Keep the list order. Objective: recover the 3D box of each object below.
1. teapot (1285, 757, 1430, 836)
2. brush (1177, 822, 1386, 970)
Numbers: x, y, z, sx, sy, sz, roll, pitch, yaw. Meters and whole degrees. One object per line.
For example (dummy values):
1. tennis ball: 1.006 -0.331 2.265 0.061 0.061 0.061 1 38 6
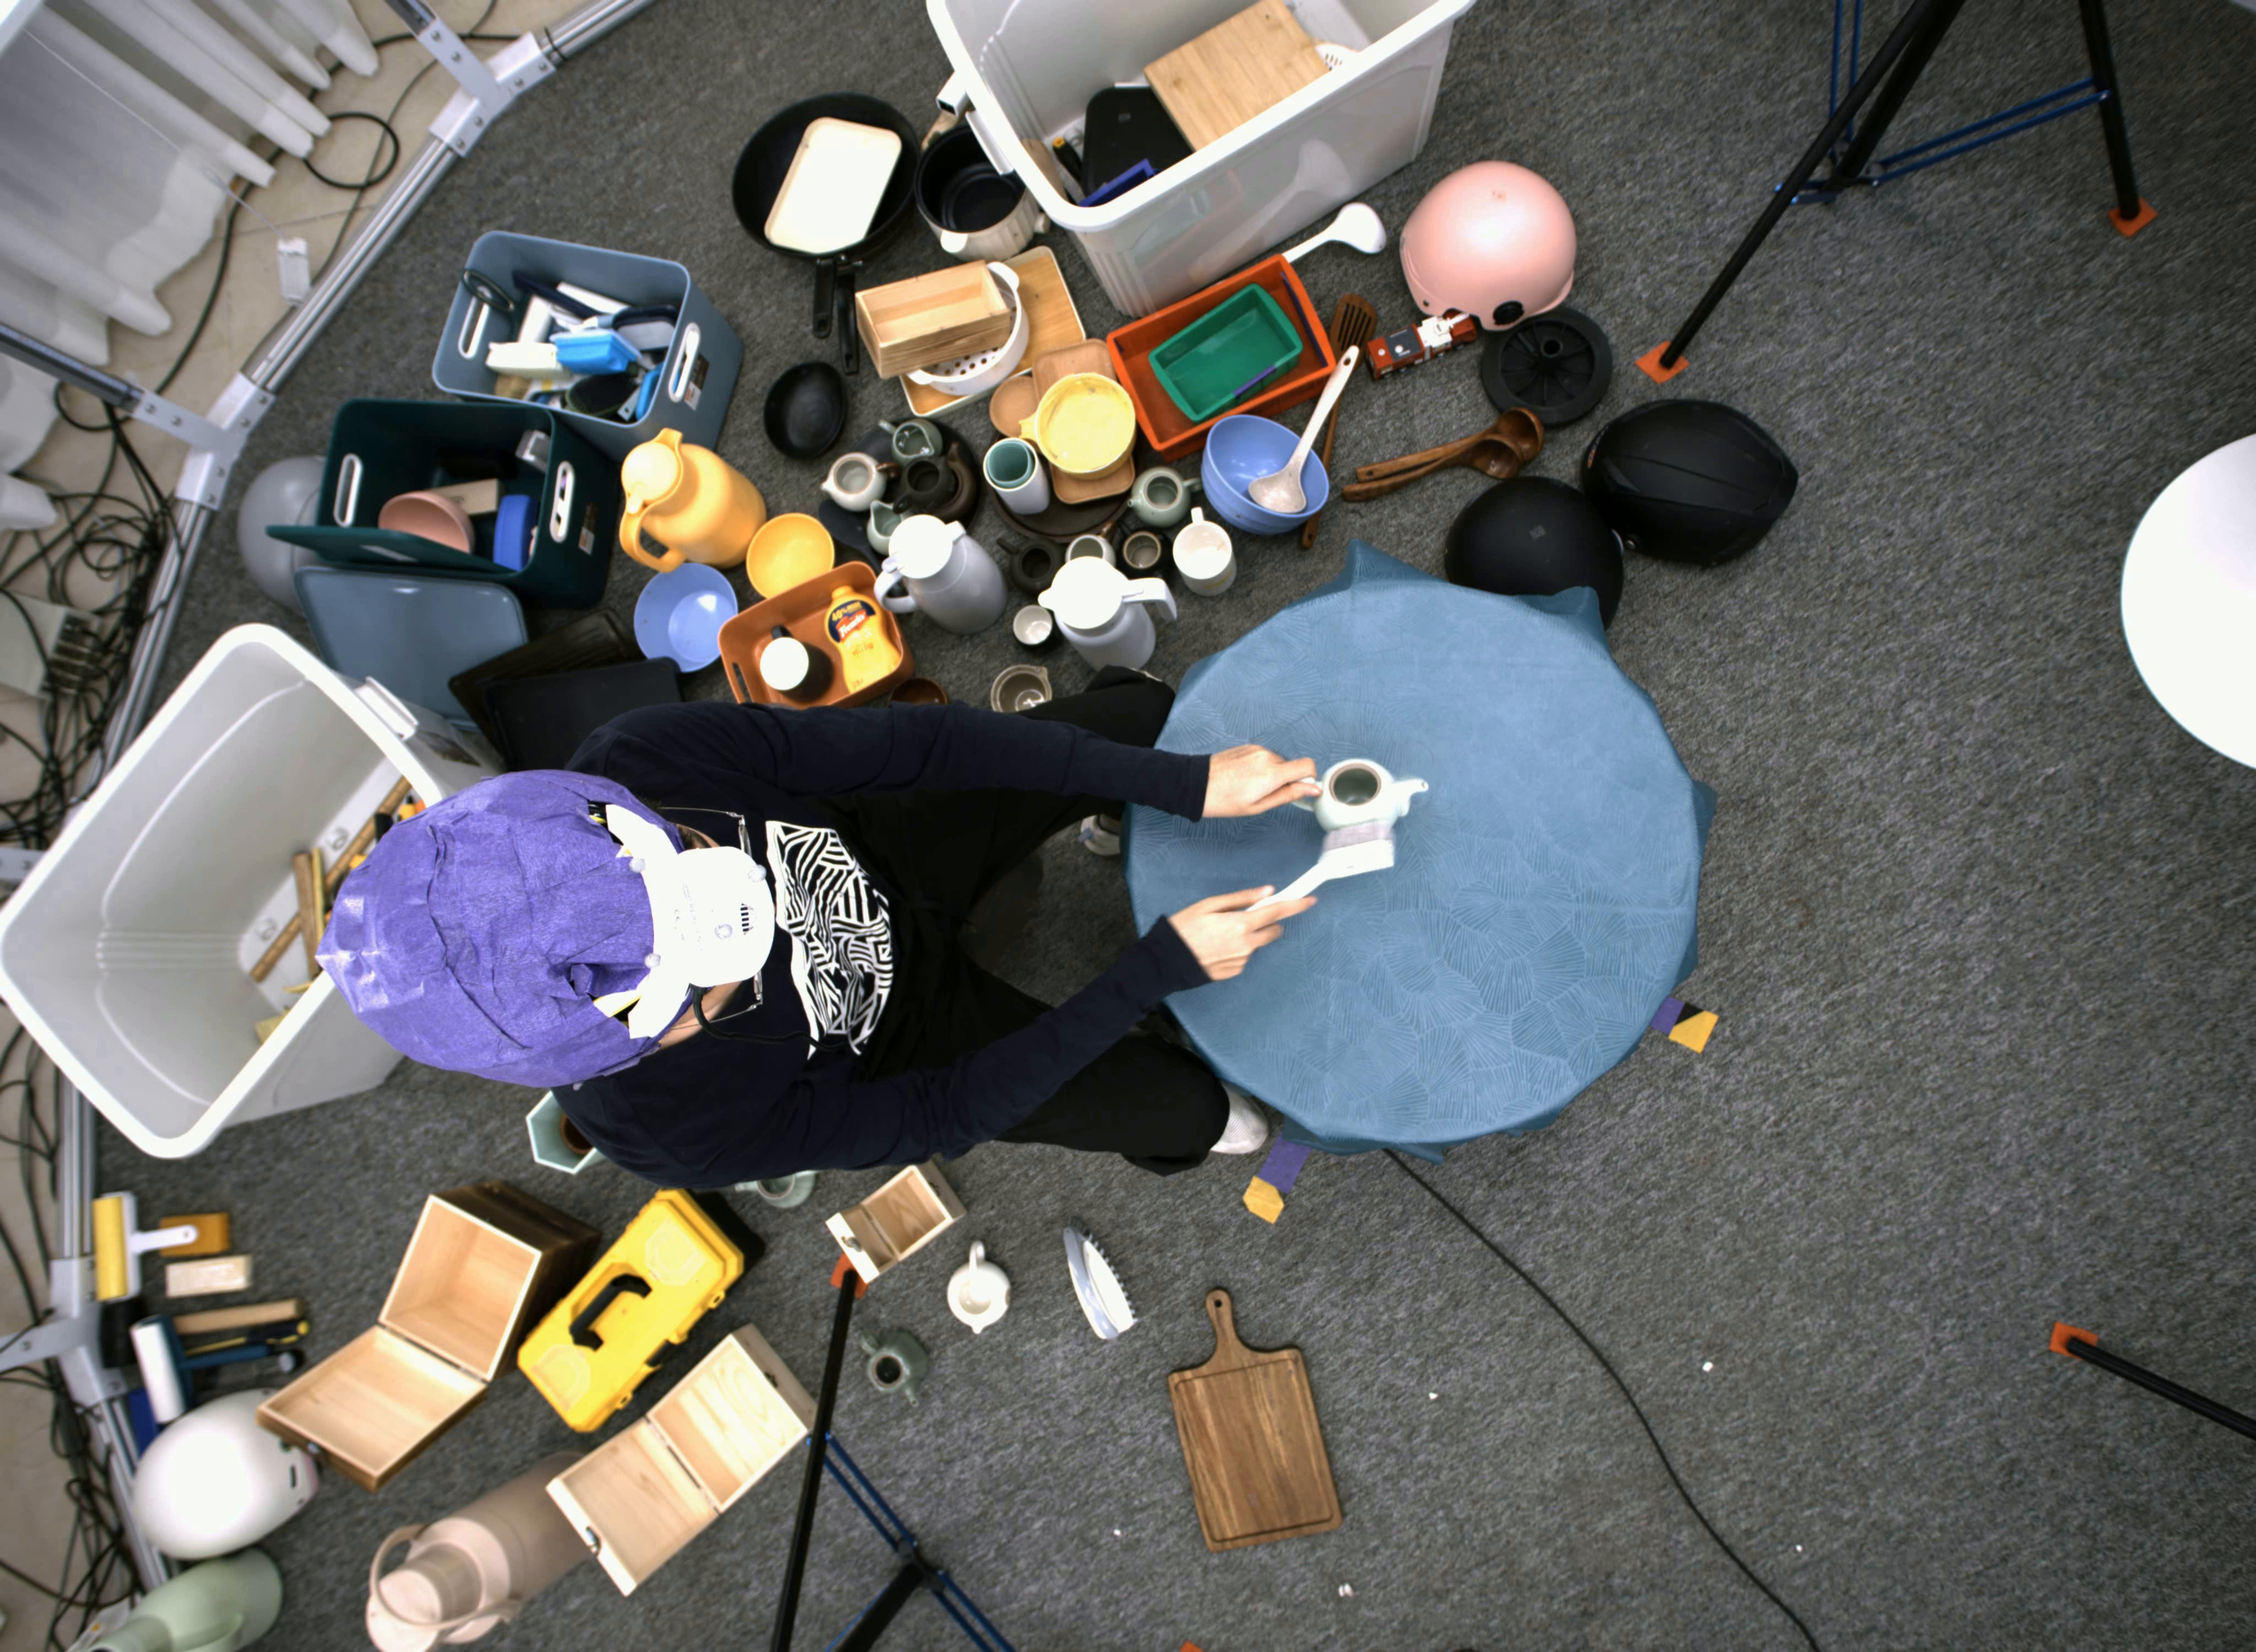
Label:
1. teapot: 0.231 -0.028 1.392 0.144 0.076 0.086 4 61 14
2. brush: 0.149 0.067 1.376 0.246 0.035 0.049 -31 54 14
